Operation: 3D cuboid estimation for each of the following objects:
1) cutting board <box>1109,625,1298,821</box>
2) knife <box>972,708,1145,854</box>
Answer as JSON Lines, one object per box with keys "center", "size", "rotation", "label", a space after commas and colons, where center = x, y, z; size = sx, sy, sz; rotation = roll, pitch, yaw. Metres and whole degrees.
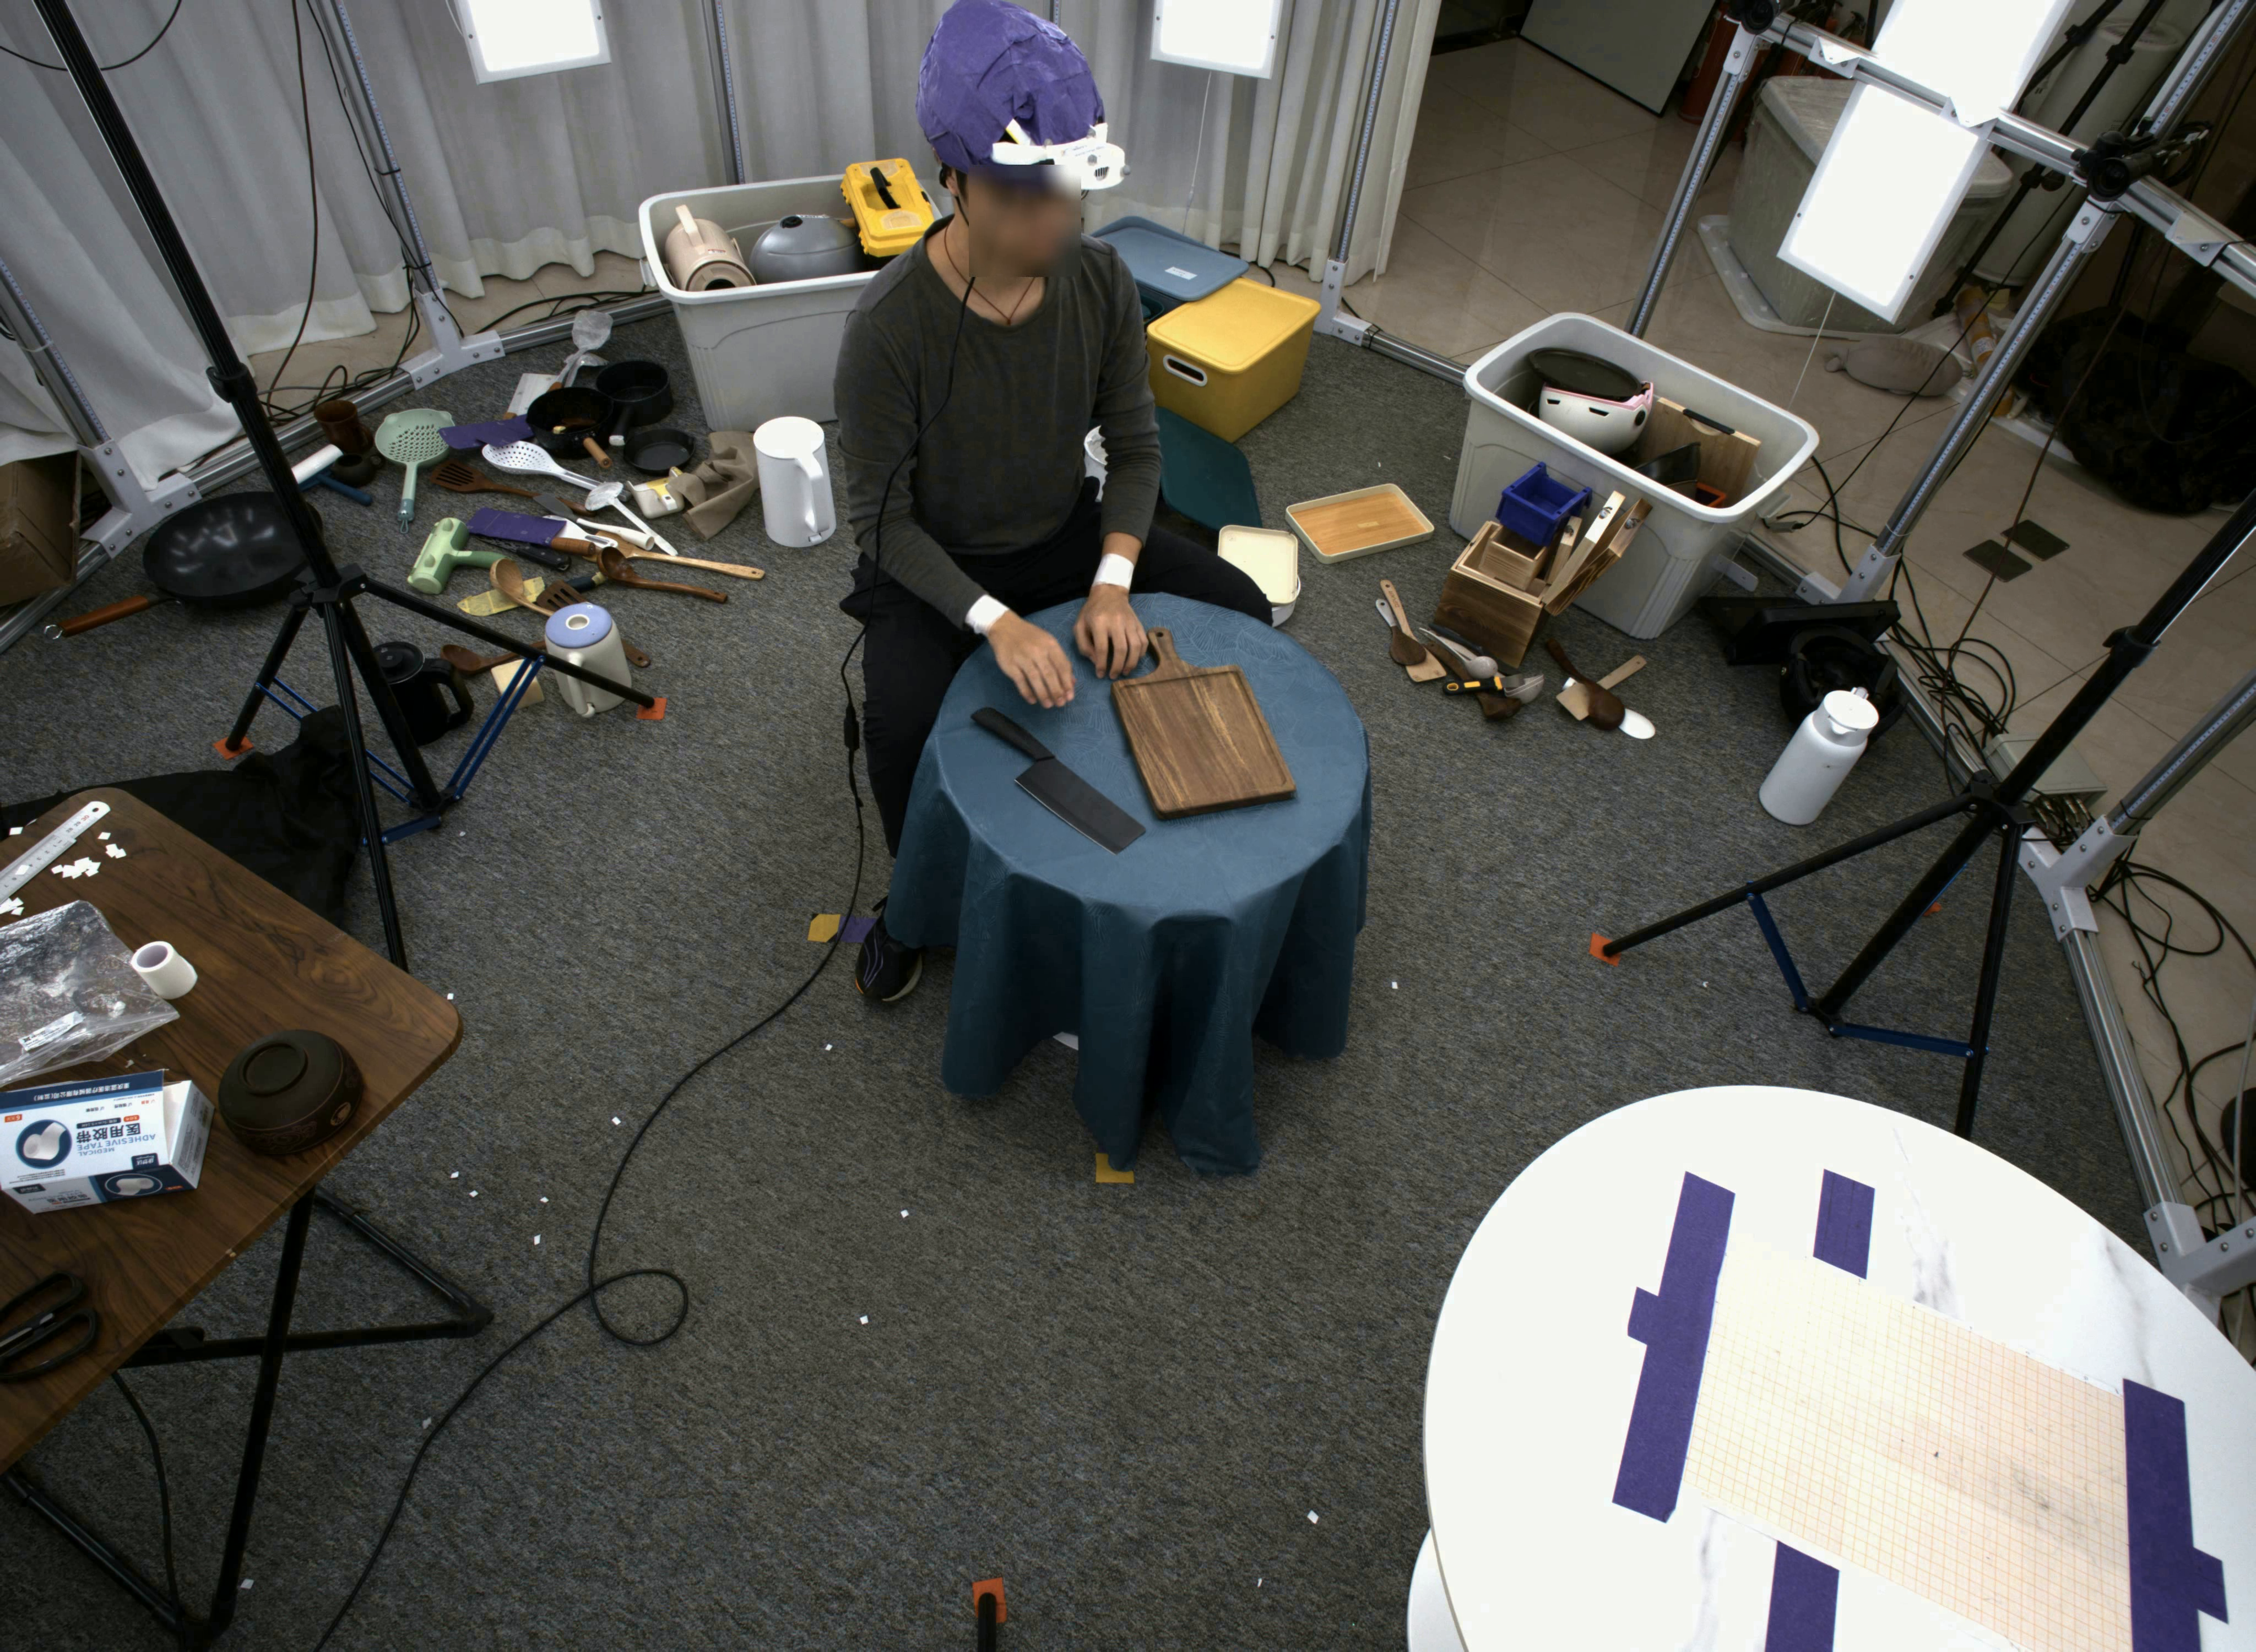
{"center": [0.088, -0.159, 1.797], "size": [0.201, 0.022, 0.361], "rotation": [-9, 50, -13], "label": "cutting board"}
{"center": [-0.103, -0.065, 1.708], "size": [0.081, 0.020, 0.307], "rotation": [-34, 61, -27], "label": "knife"}
